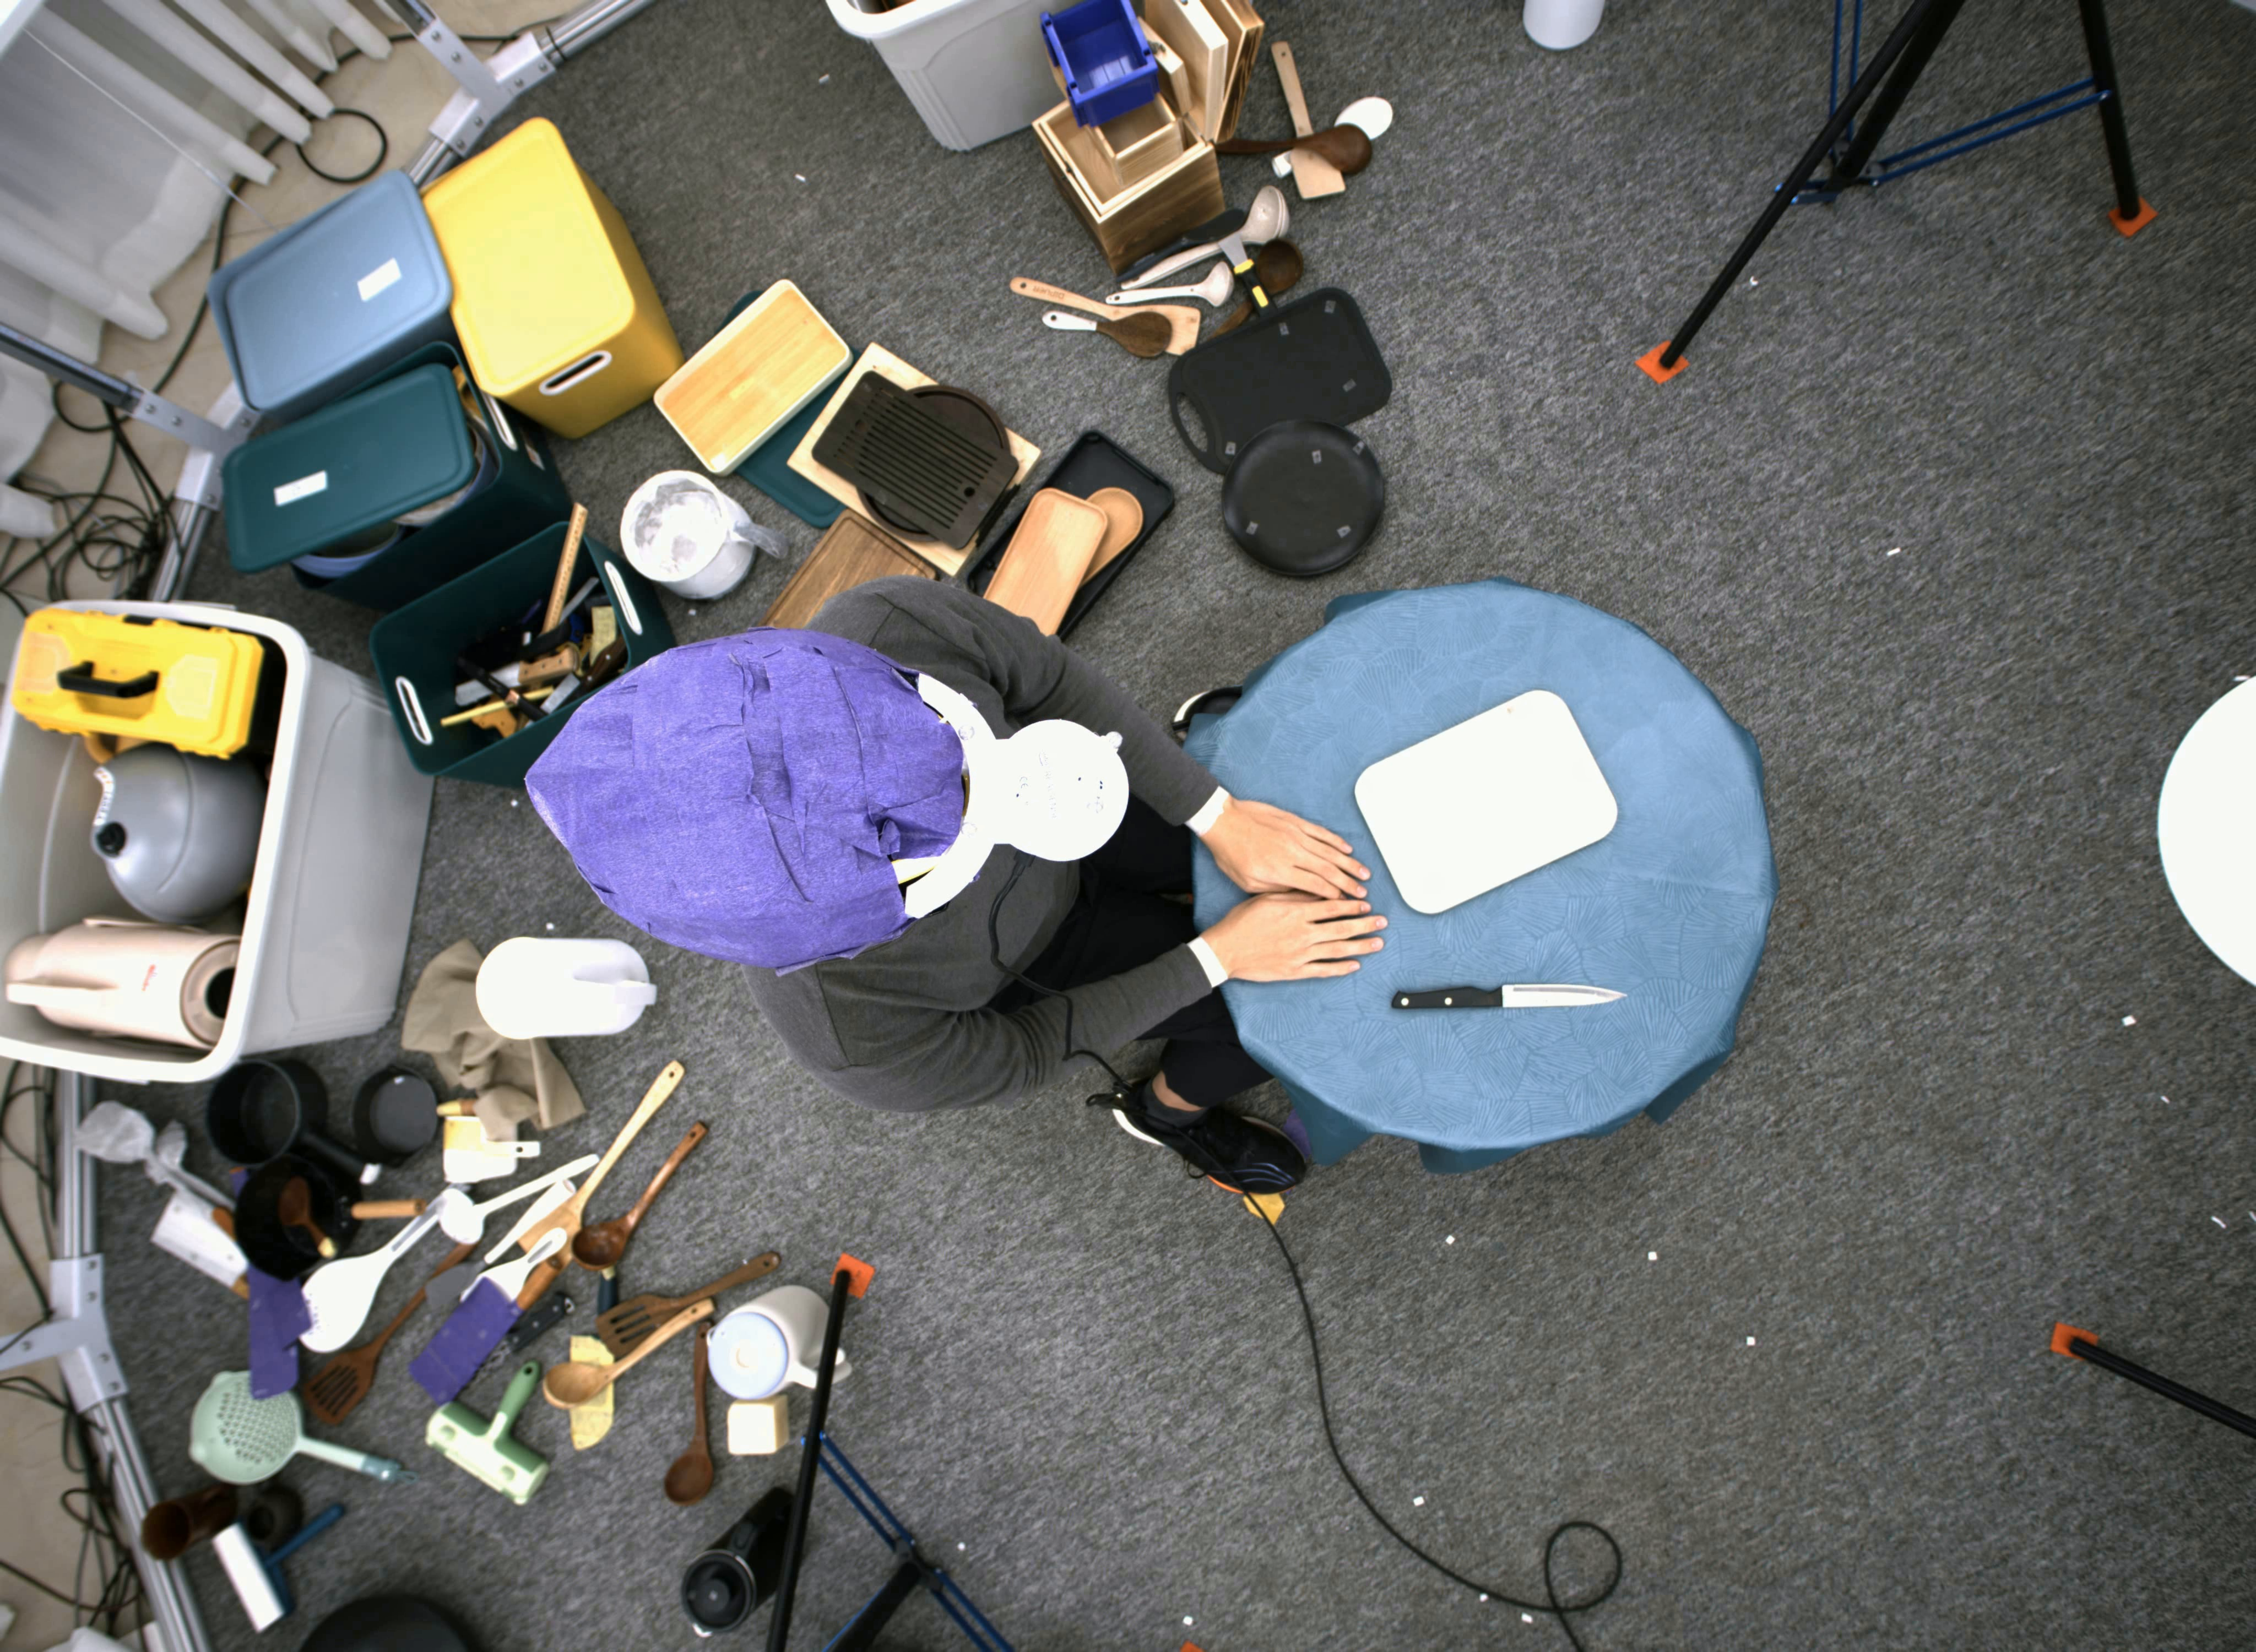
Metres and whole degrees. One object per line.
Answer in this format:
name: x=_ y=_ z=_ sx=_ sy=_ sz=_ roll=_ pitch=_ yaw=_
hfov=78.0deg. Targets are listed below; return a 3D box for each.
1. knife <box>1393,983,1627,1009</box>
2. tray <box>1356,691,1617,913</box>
knife: x=0.395 y=0.174 z=1.425 sx=0.239 sy=0.016 sz=0.024 roll=-3 pitch=87 yaw=8
tray: x=0.373 y=-0.027 z=1.437 sx=0.241 sy=0.017 sz=0.170 roll=-25 pitch=83 yaw=8
